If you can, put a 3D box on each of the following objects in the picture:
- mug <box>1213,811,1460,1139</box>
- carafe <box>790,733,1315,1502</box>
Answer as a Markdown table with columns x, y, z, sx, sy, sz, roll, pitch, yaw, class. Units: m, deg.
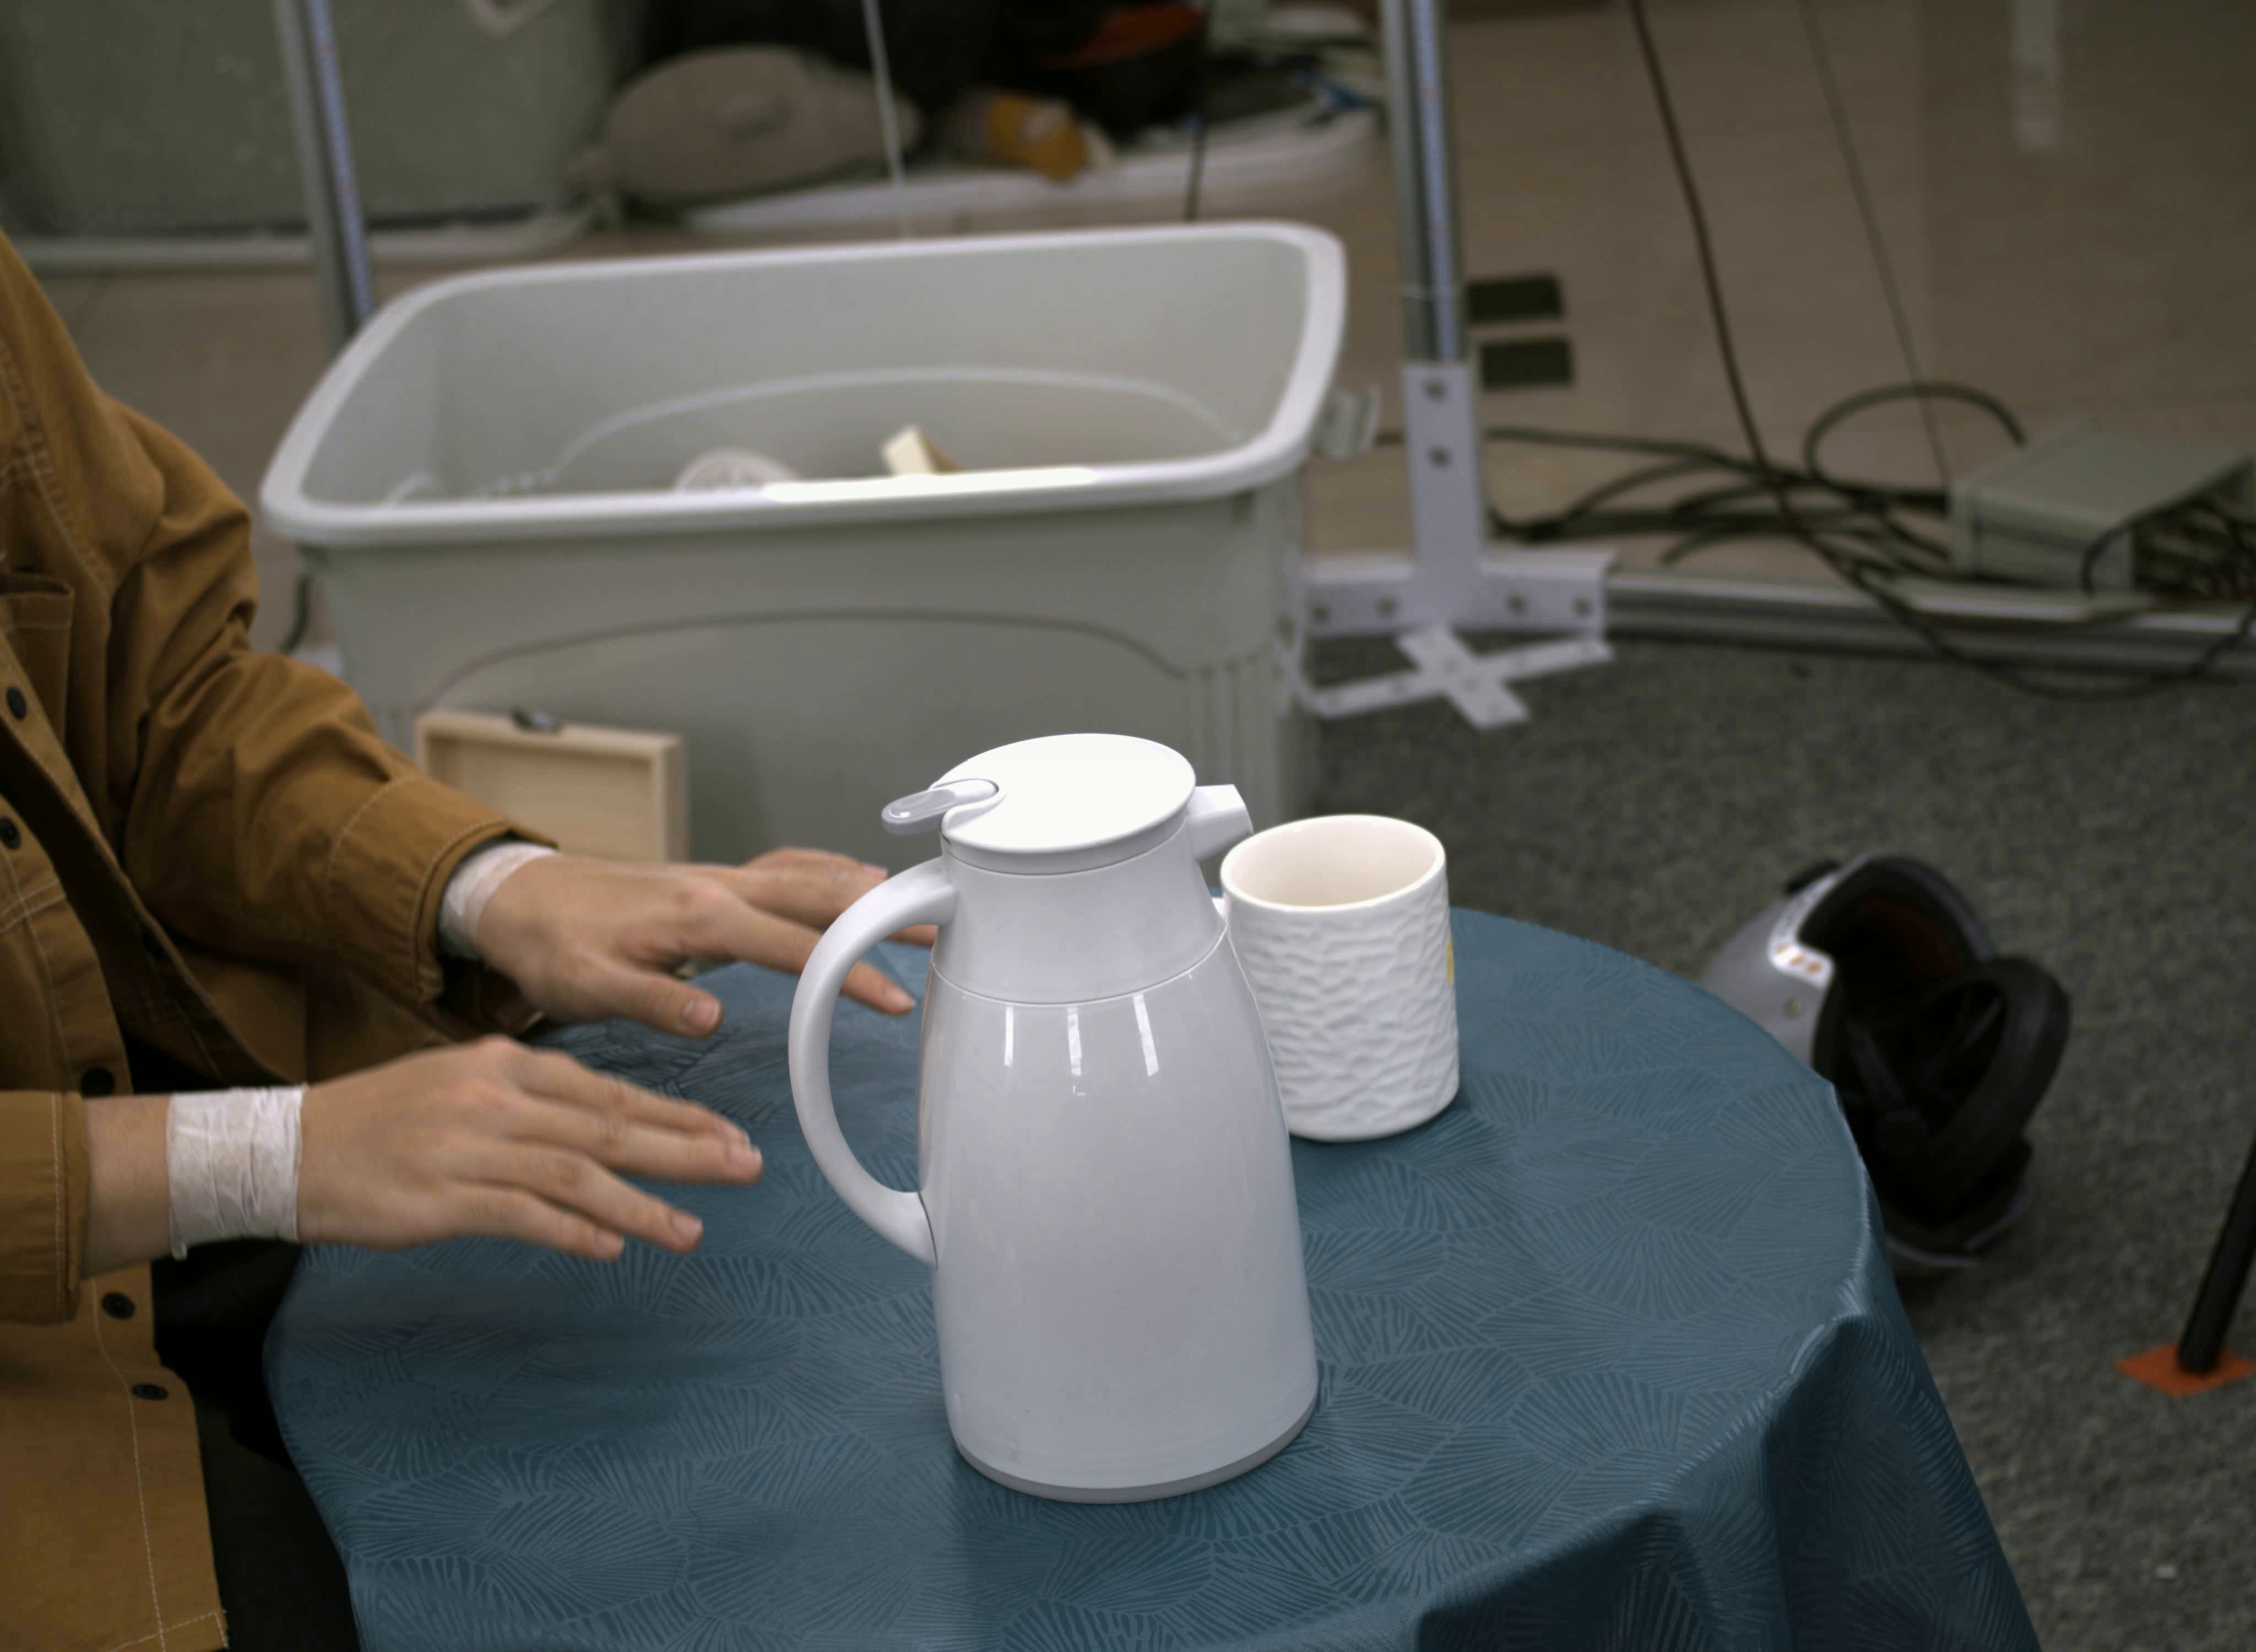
| x | y | z | sx | sy | sz | roll | pitch | yaw | class |
| --- | --- | --- | --- | --- | --- | --- | --- | --- | --- |
| 0.068 | 0.058 | 2.179 | 0.118 | 0.103 | 0.083 | 0 | 27 | 9 | mug |
| -0.029 | 0.097 | 1.948 | 0.167 | 0.253 | 0.130 | -11 | 27 | -9 | carafe |
